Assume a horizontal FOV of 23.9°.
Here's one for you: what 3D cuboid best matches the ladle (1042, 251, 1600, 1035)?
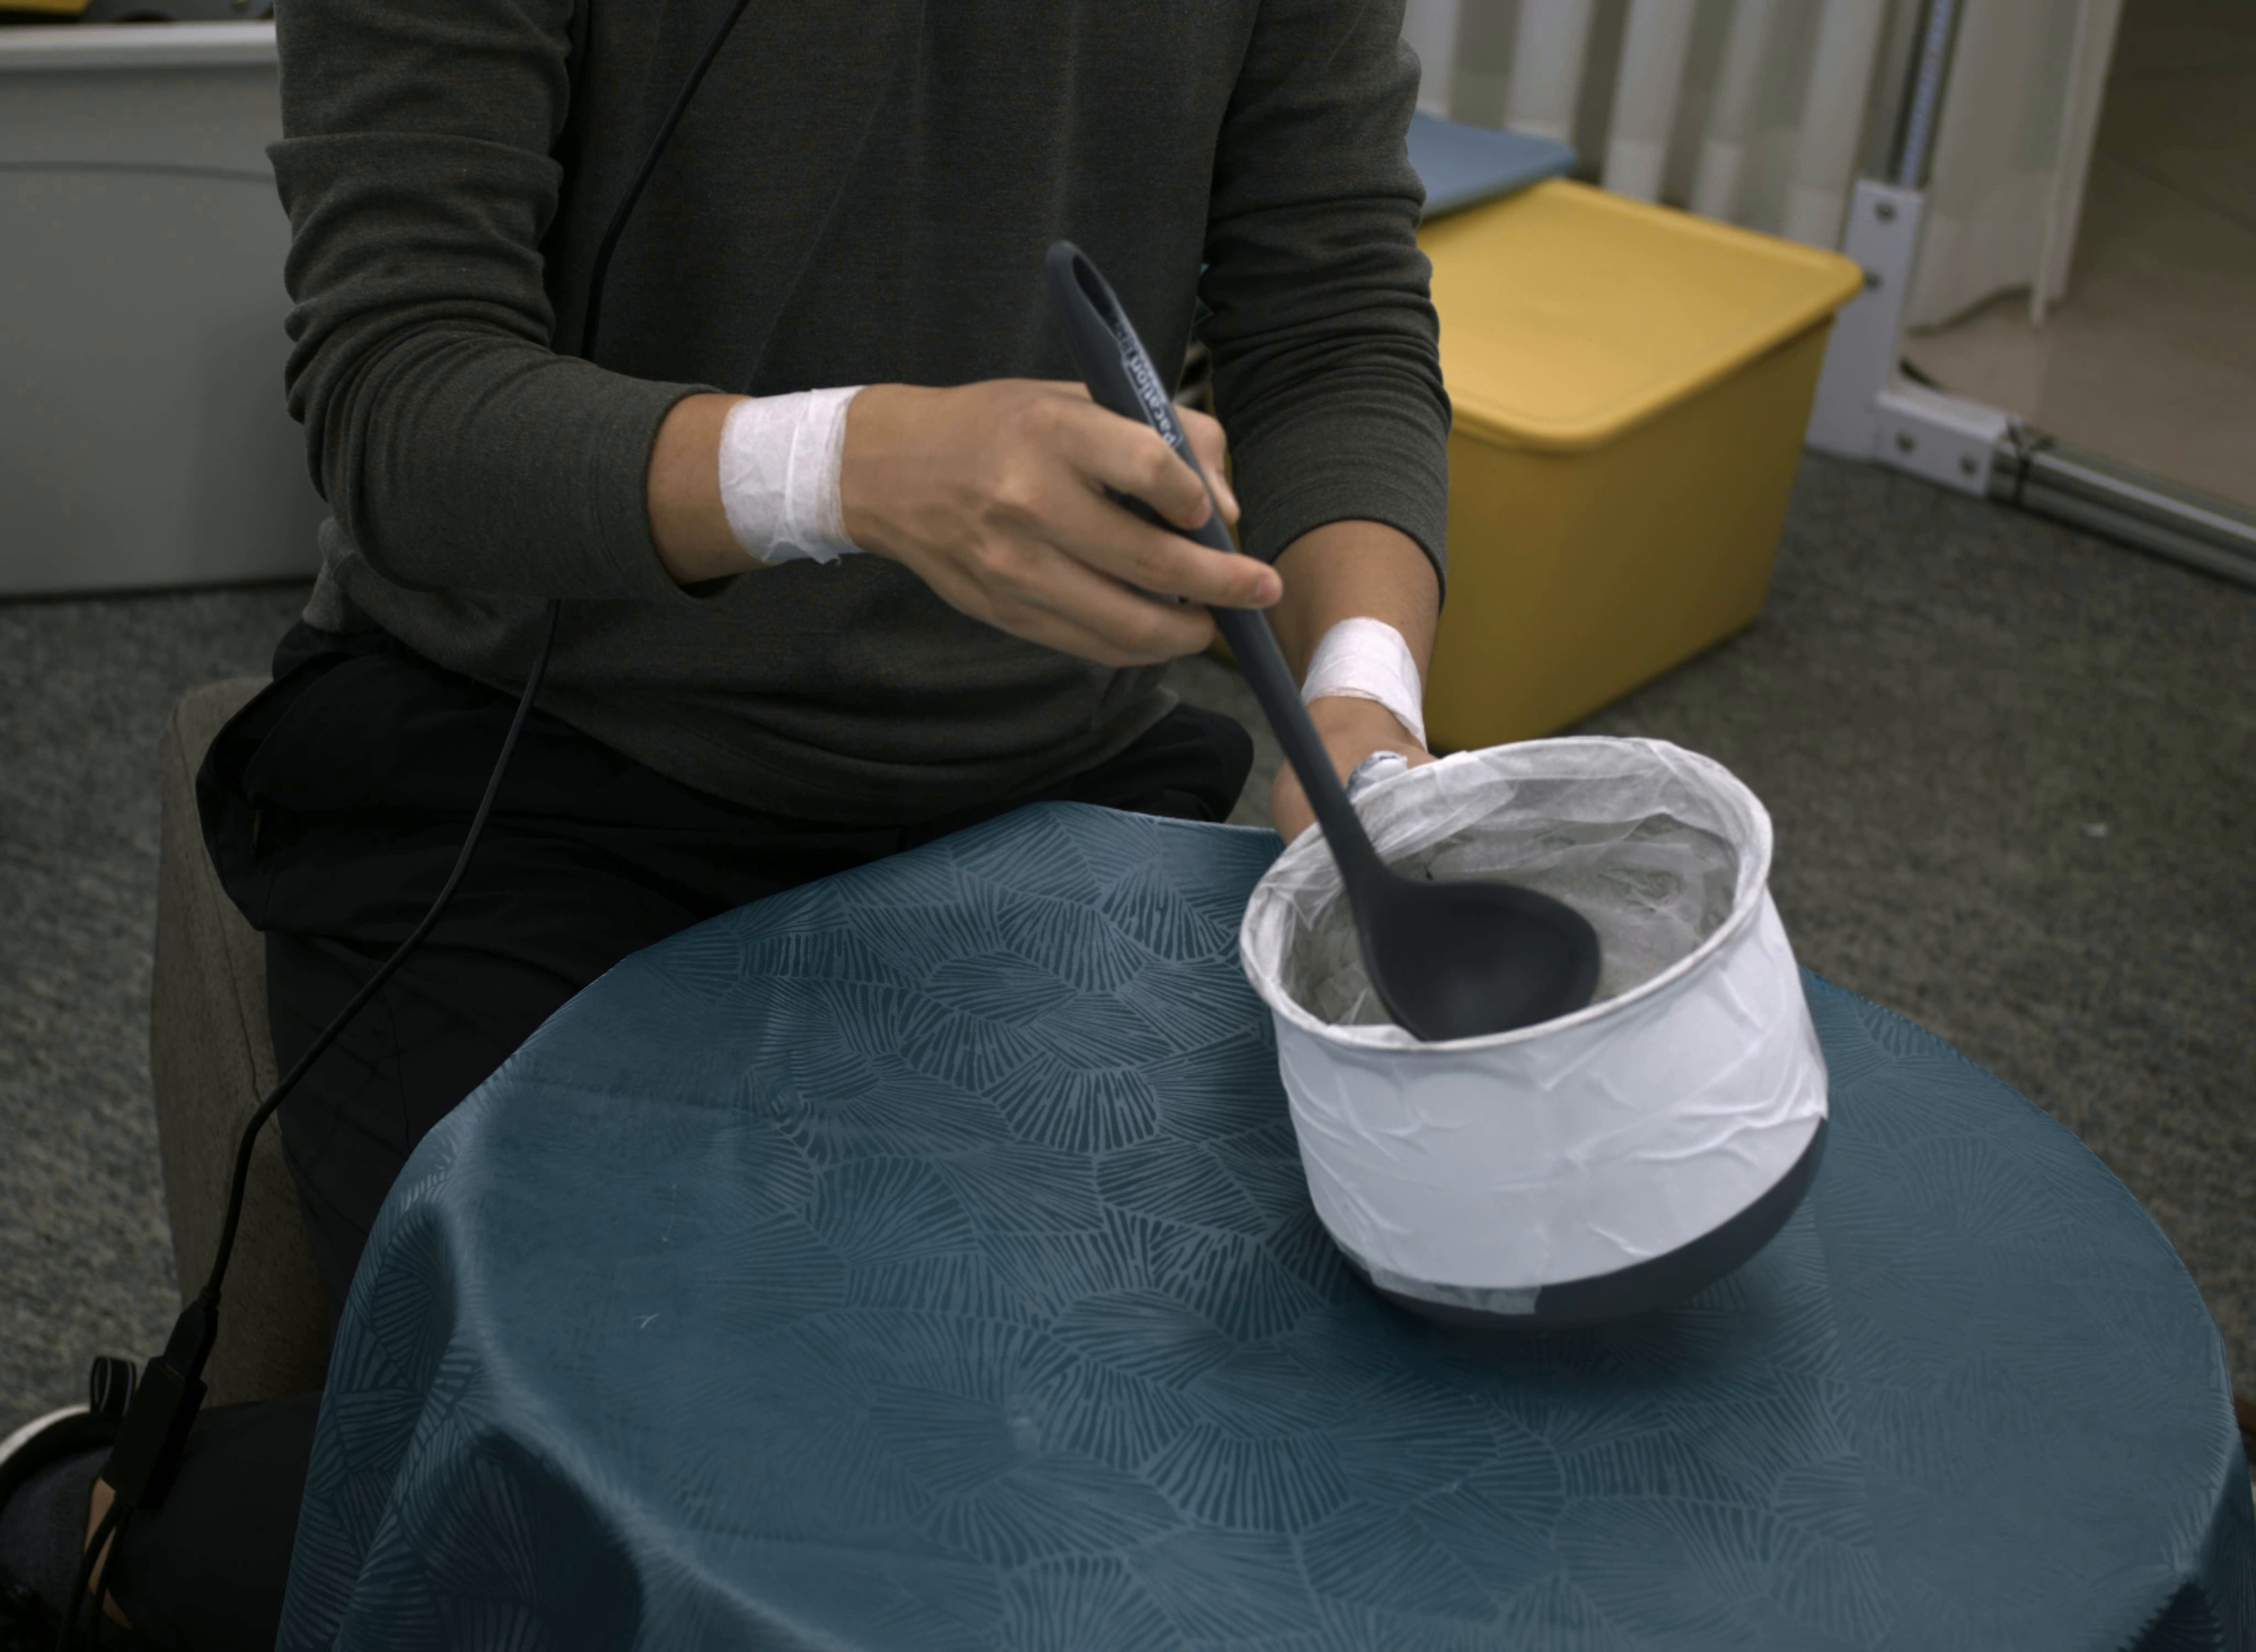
[{"bbox_3d":[0.060,-0.053,1.714,0.064,0.312,0.086,-11,26,35],"label":"ladle"}]

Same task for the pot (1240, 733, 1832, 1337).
[{"bbox_3d":[0.126,0.060,1.773,0.178,0.136,0.236,-24,31,-13],"label":"pot"}]
